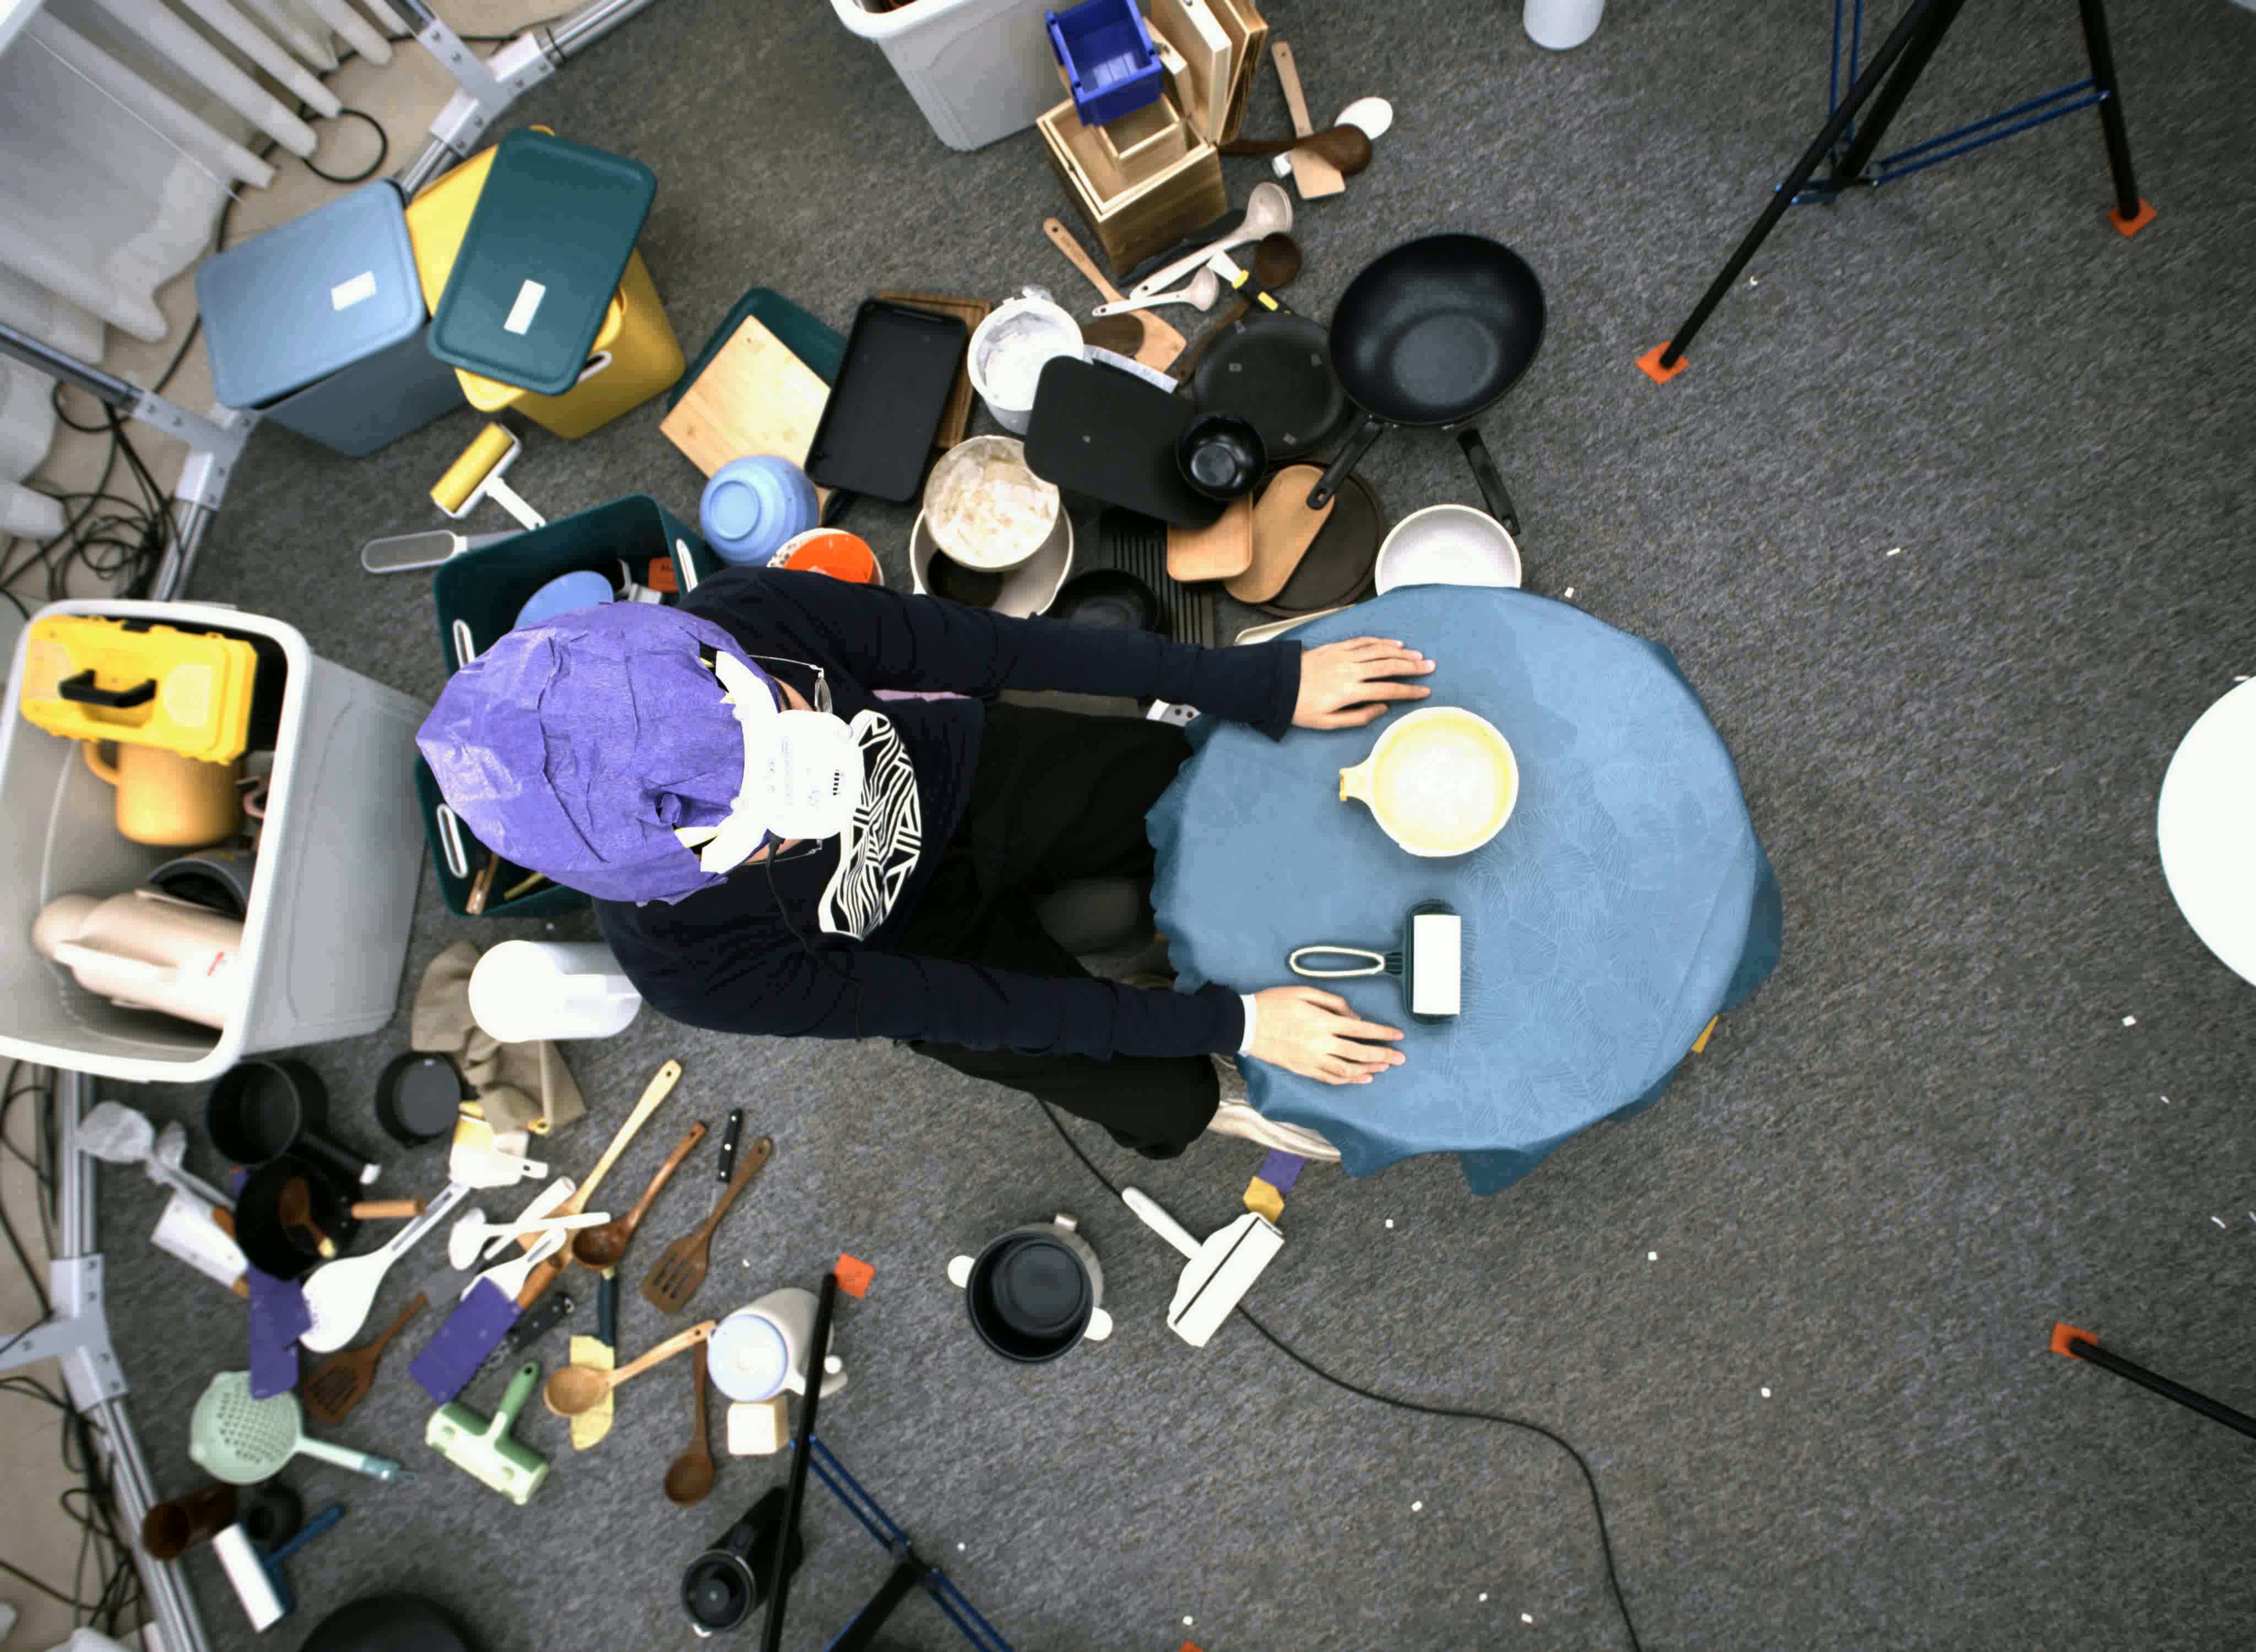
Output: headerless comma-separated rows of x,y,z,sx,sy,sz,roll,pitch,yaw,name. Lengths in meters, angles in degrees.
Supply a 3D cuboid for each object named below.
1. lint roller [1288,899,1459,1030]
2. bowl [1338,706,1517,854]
0.253,0.142,1.440,0.181,0.048,0.134,0,87,15,lint roller
0.308,-0.045,1.426,0.180,0.074,0.152,-6,87,10,bowl
